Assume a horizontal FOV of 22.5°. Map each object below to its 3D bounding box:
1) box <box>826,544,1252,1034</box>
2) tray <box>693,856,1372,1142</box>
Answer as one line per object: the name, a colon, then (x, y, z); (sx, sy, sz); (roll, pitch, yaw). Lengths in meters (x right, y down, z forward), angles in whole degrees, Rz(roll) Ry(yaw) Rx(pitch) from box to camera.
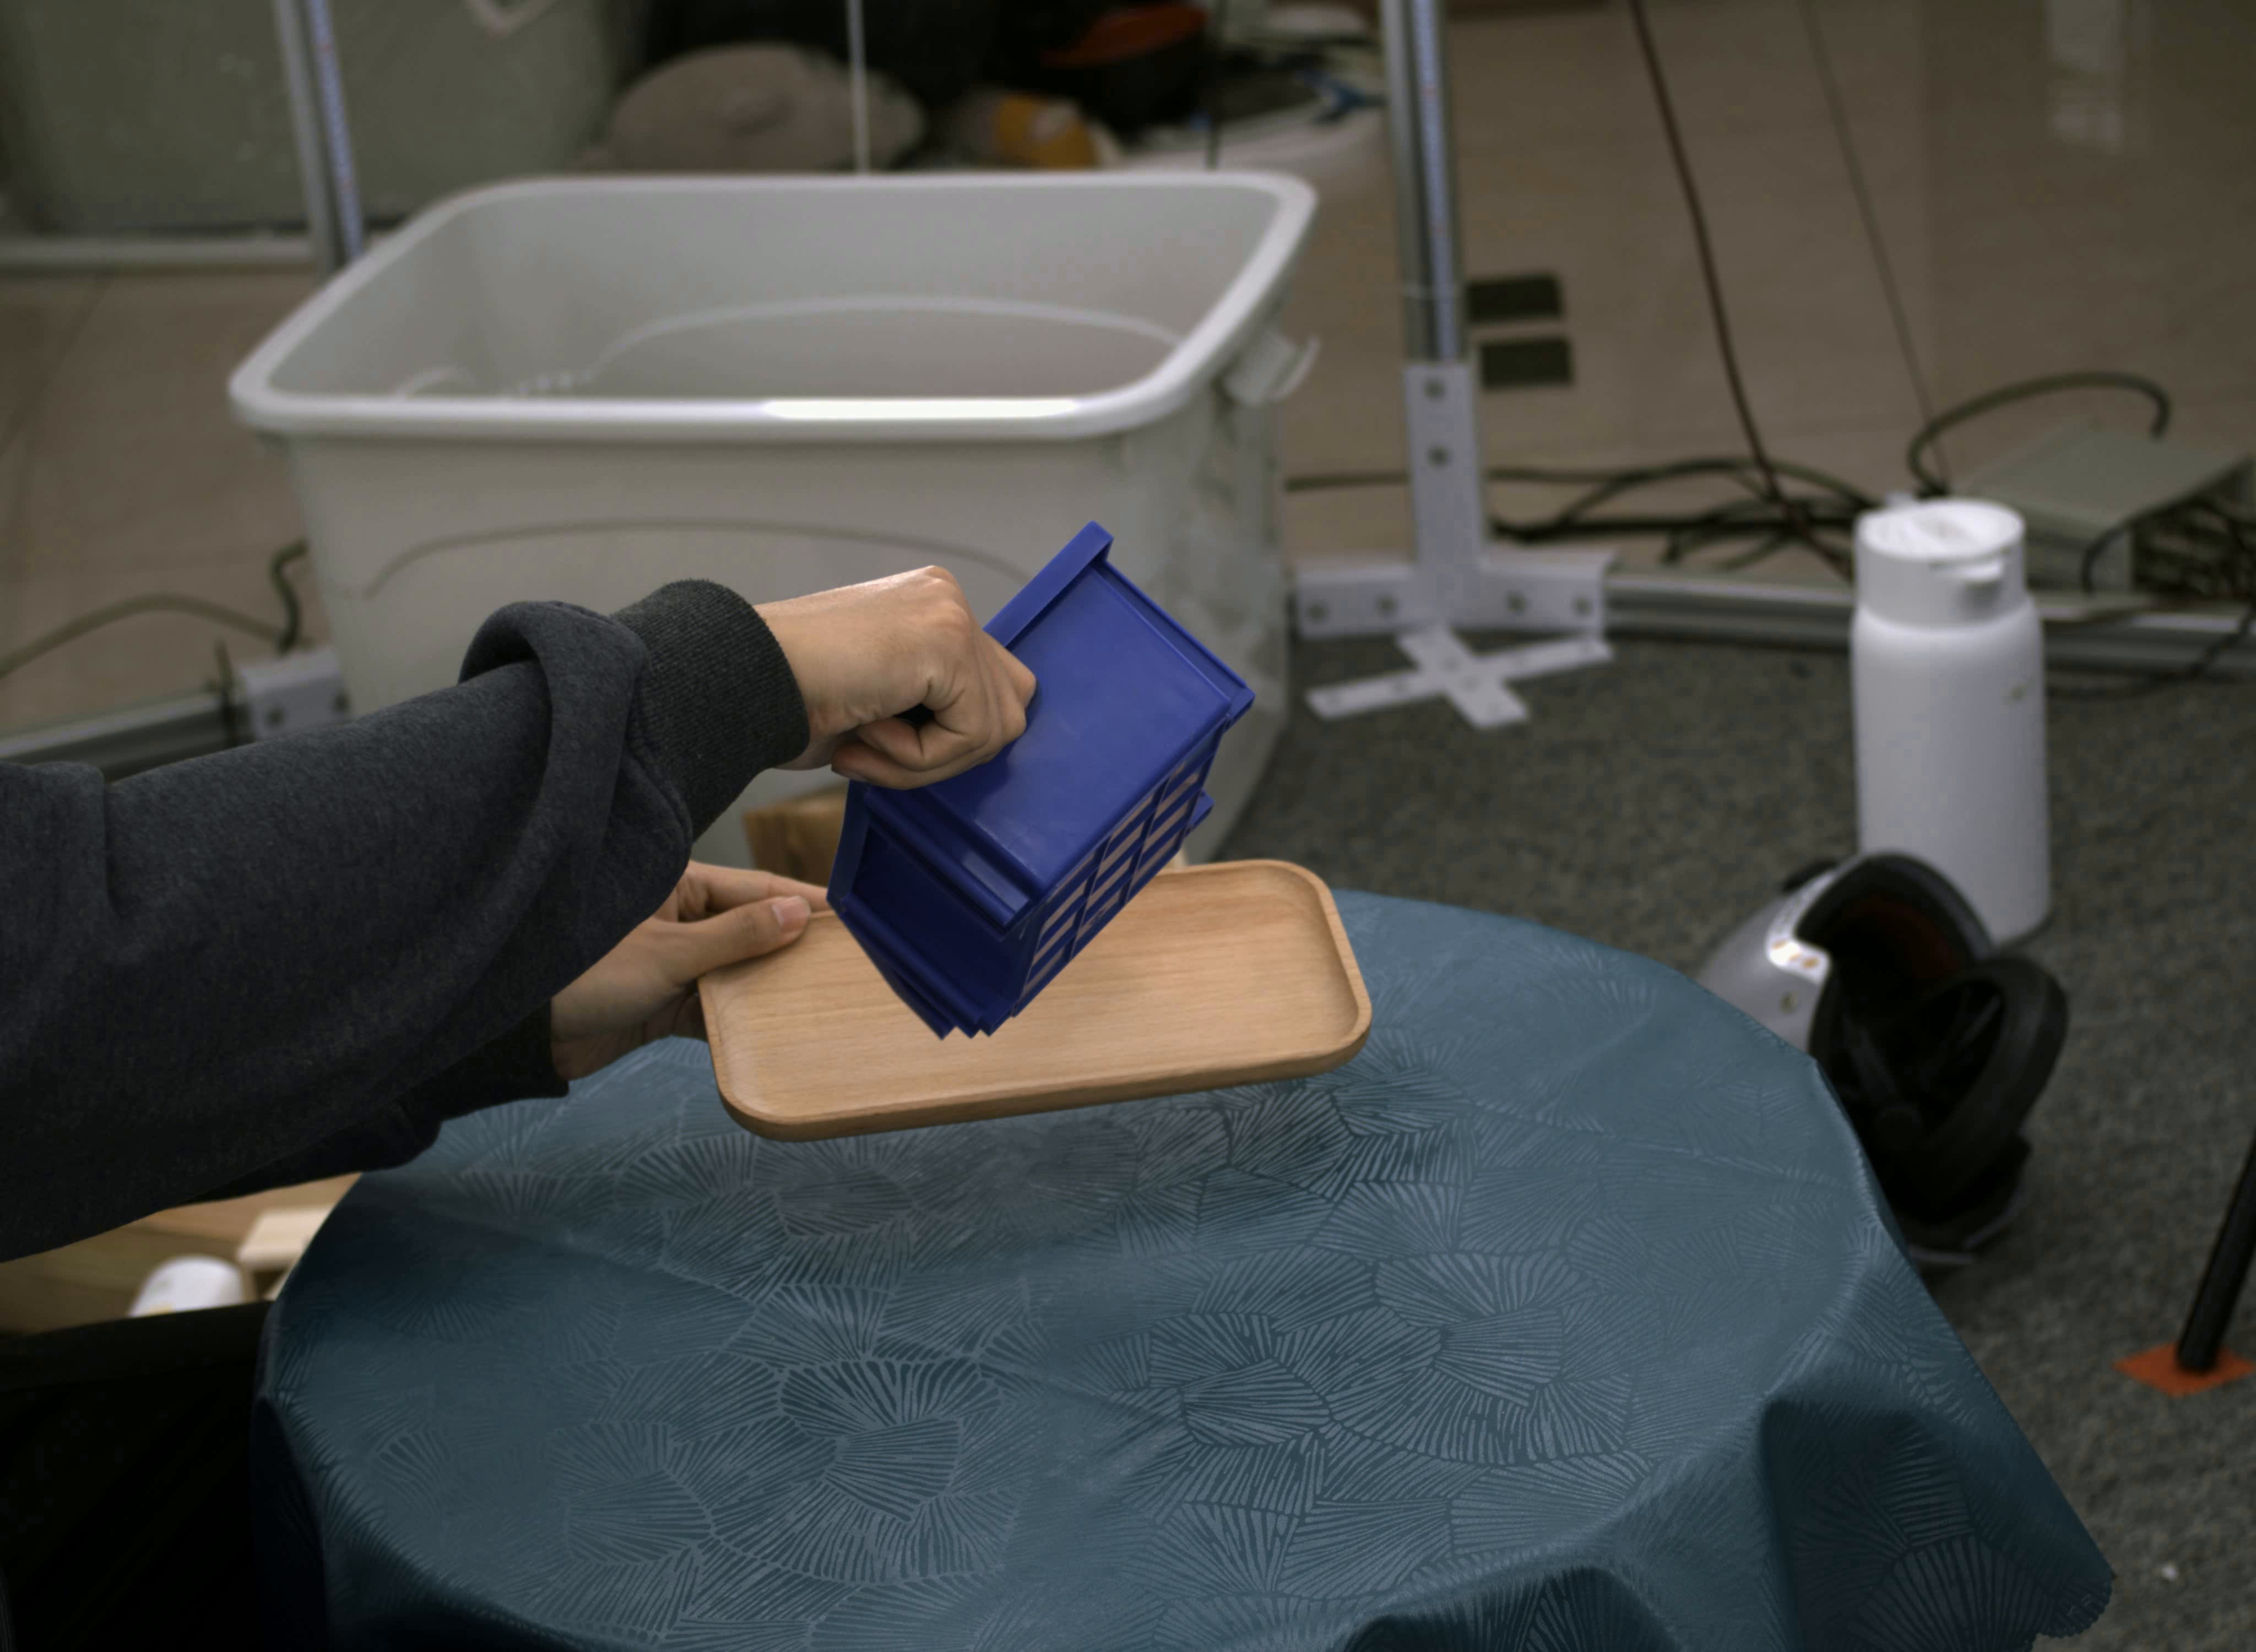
box: (-0.035, -0.004, 1.998); (0.082, 0.181, 0.123); (43, 74, 5)
tray: (-0.037, 0.066, 2.160); (0.250, 0.023, 0.128); (-7, 35, -8)
